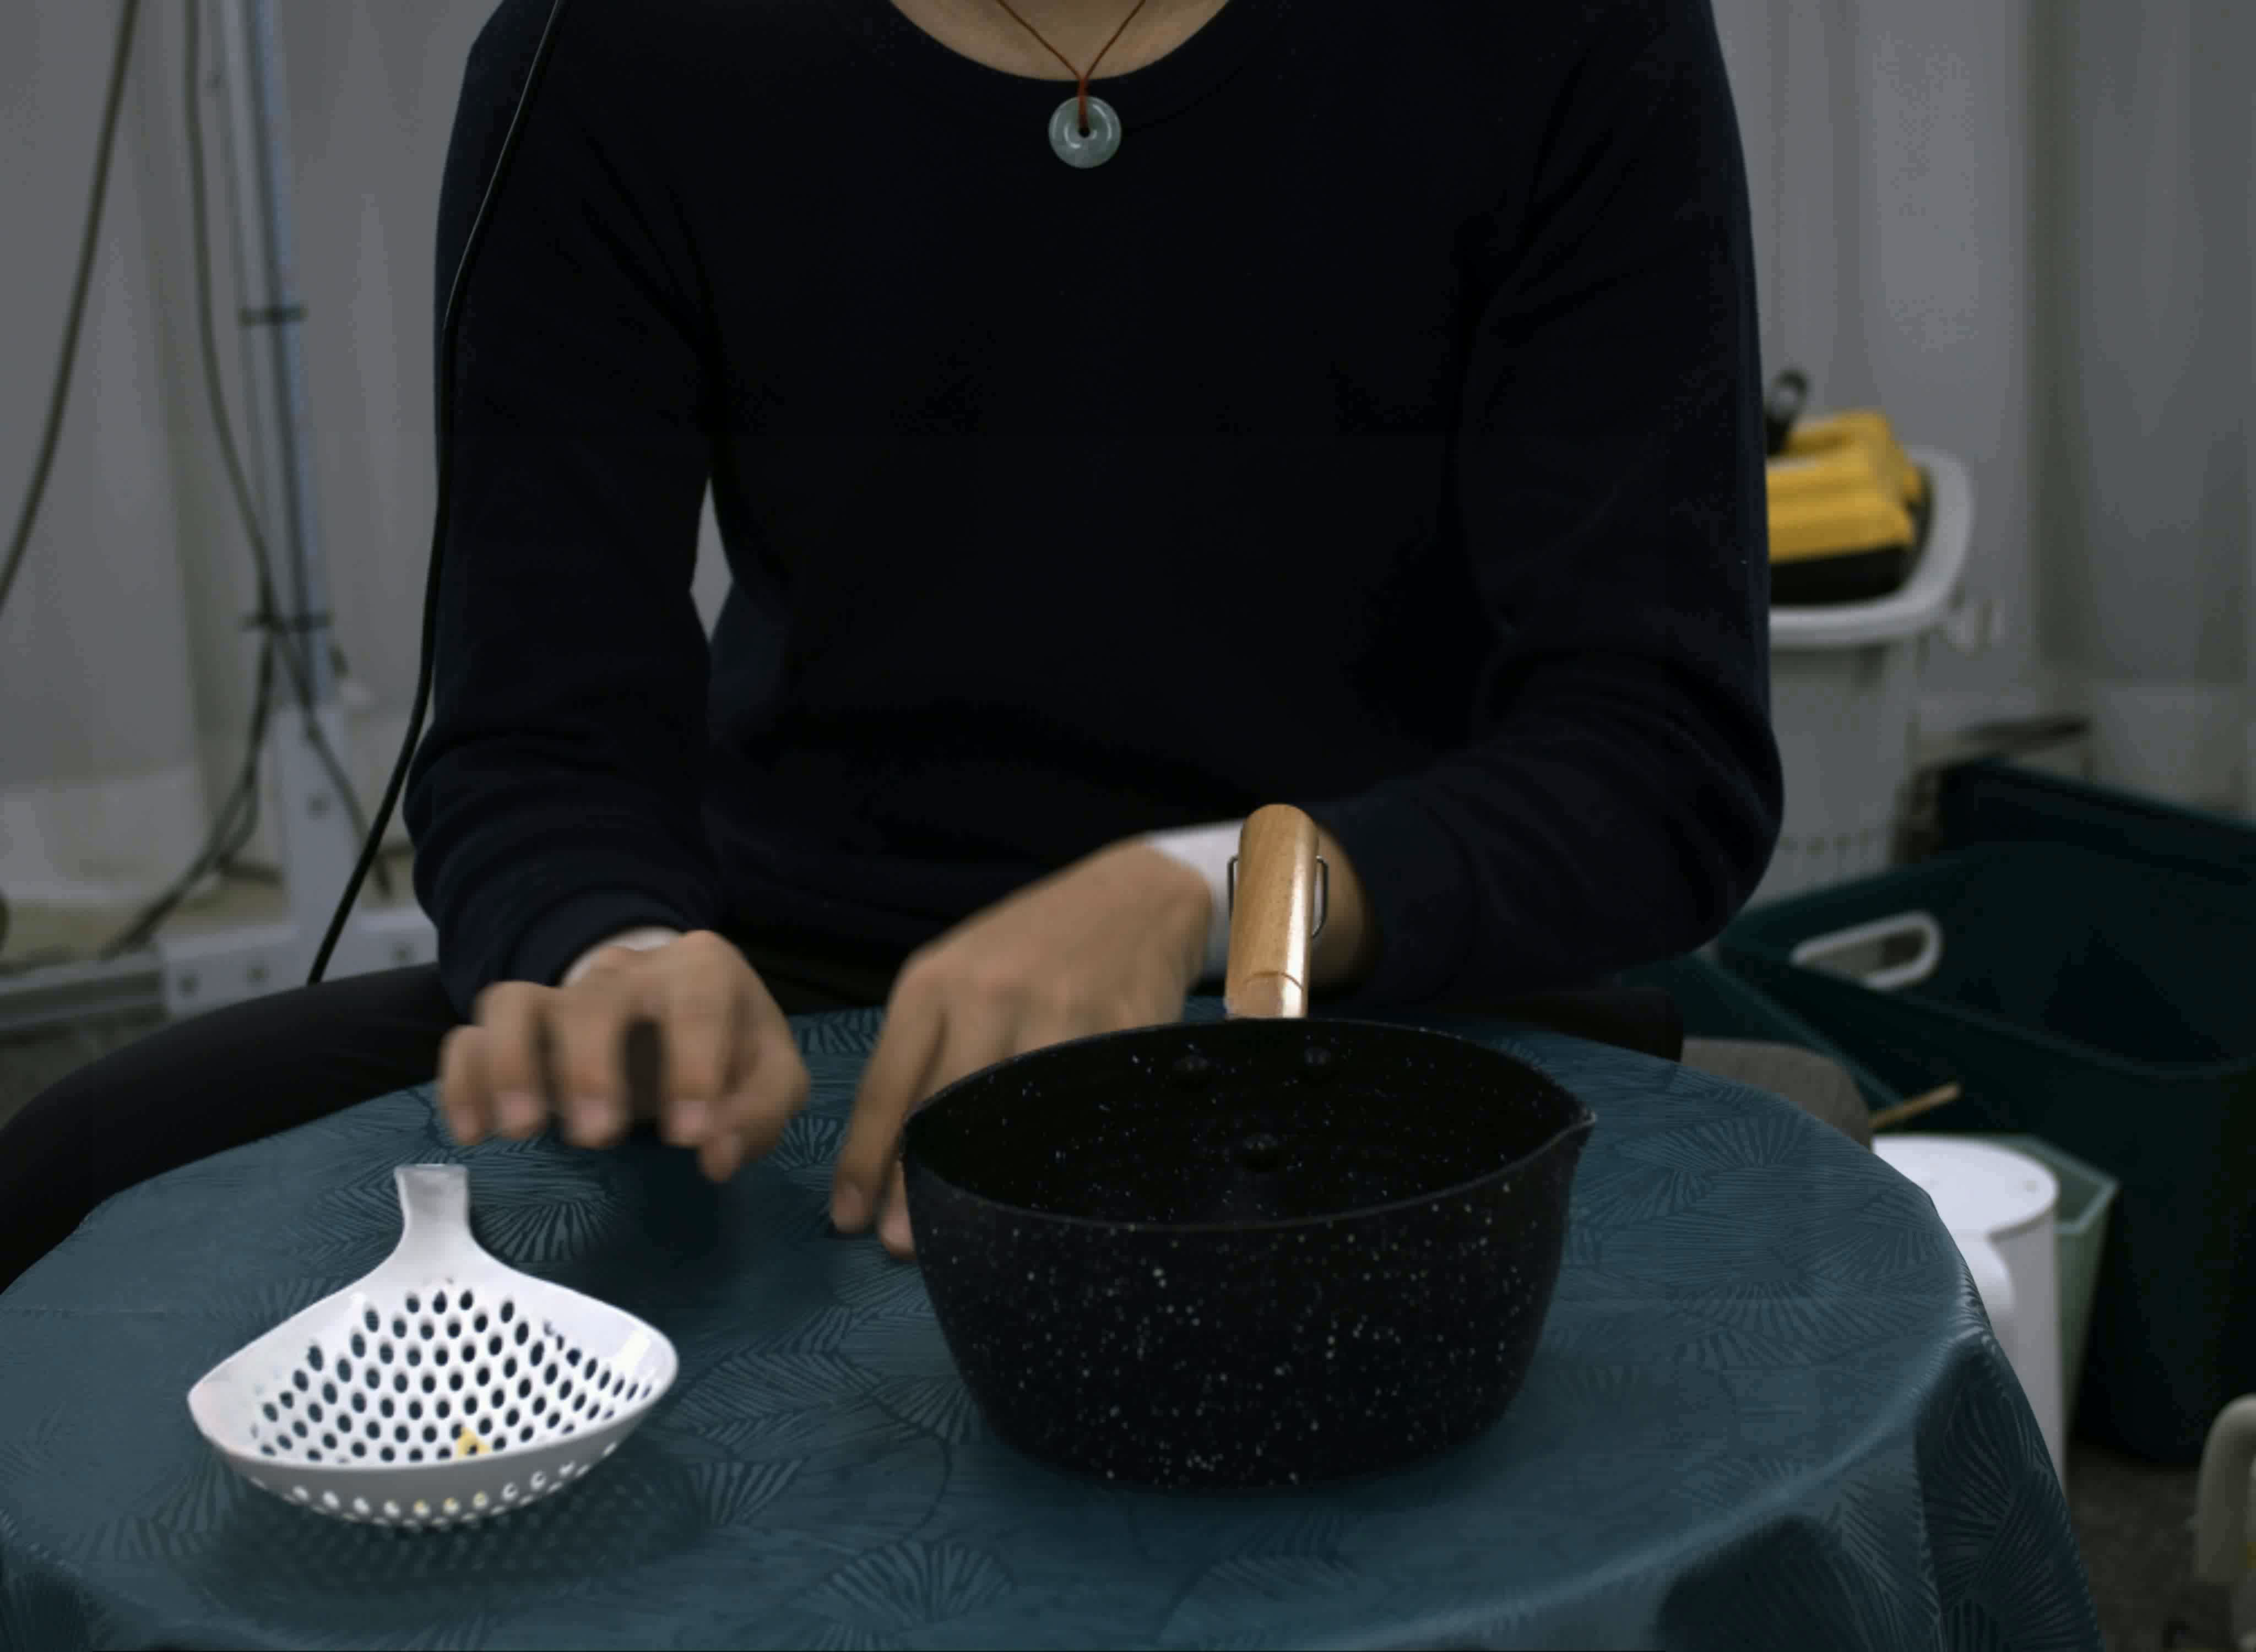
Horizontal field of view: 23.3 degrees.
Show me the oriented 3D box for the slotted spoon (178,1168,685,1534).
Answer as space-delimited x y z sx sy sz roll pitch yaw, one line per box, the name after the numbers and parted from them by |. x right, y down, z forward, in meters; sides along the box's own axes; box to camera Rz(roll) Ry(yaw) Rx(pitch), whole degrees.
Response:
-0.203 0.138 1.588 0.136 0.050 0.351 -7 17 -7 | slotted spoon

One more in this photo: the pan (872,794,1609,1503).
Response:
0.036 0.089 1.599 0.207 0.108 0.345 -3 16 4 | pan
